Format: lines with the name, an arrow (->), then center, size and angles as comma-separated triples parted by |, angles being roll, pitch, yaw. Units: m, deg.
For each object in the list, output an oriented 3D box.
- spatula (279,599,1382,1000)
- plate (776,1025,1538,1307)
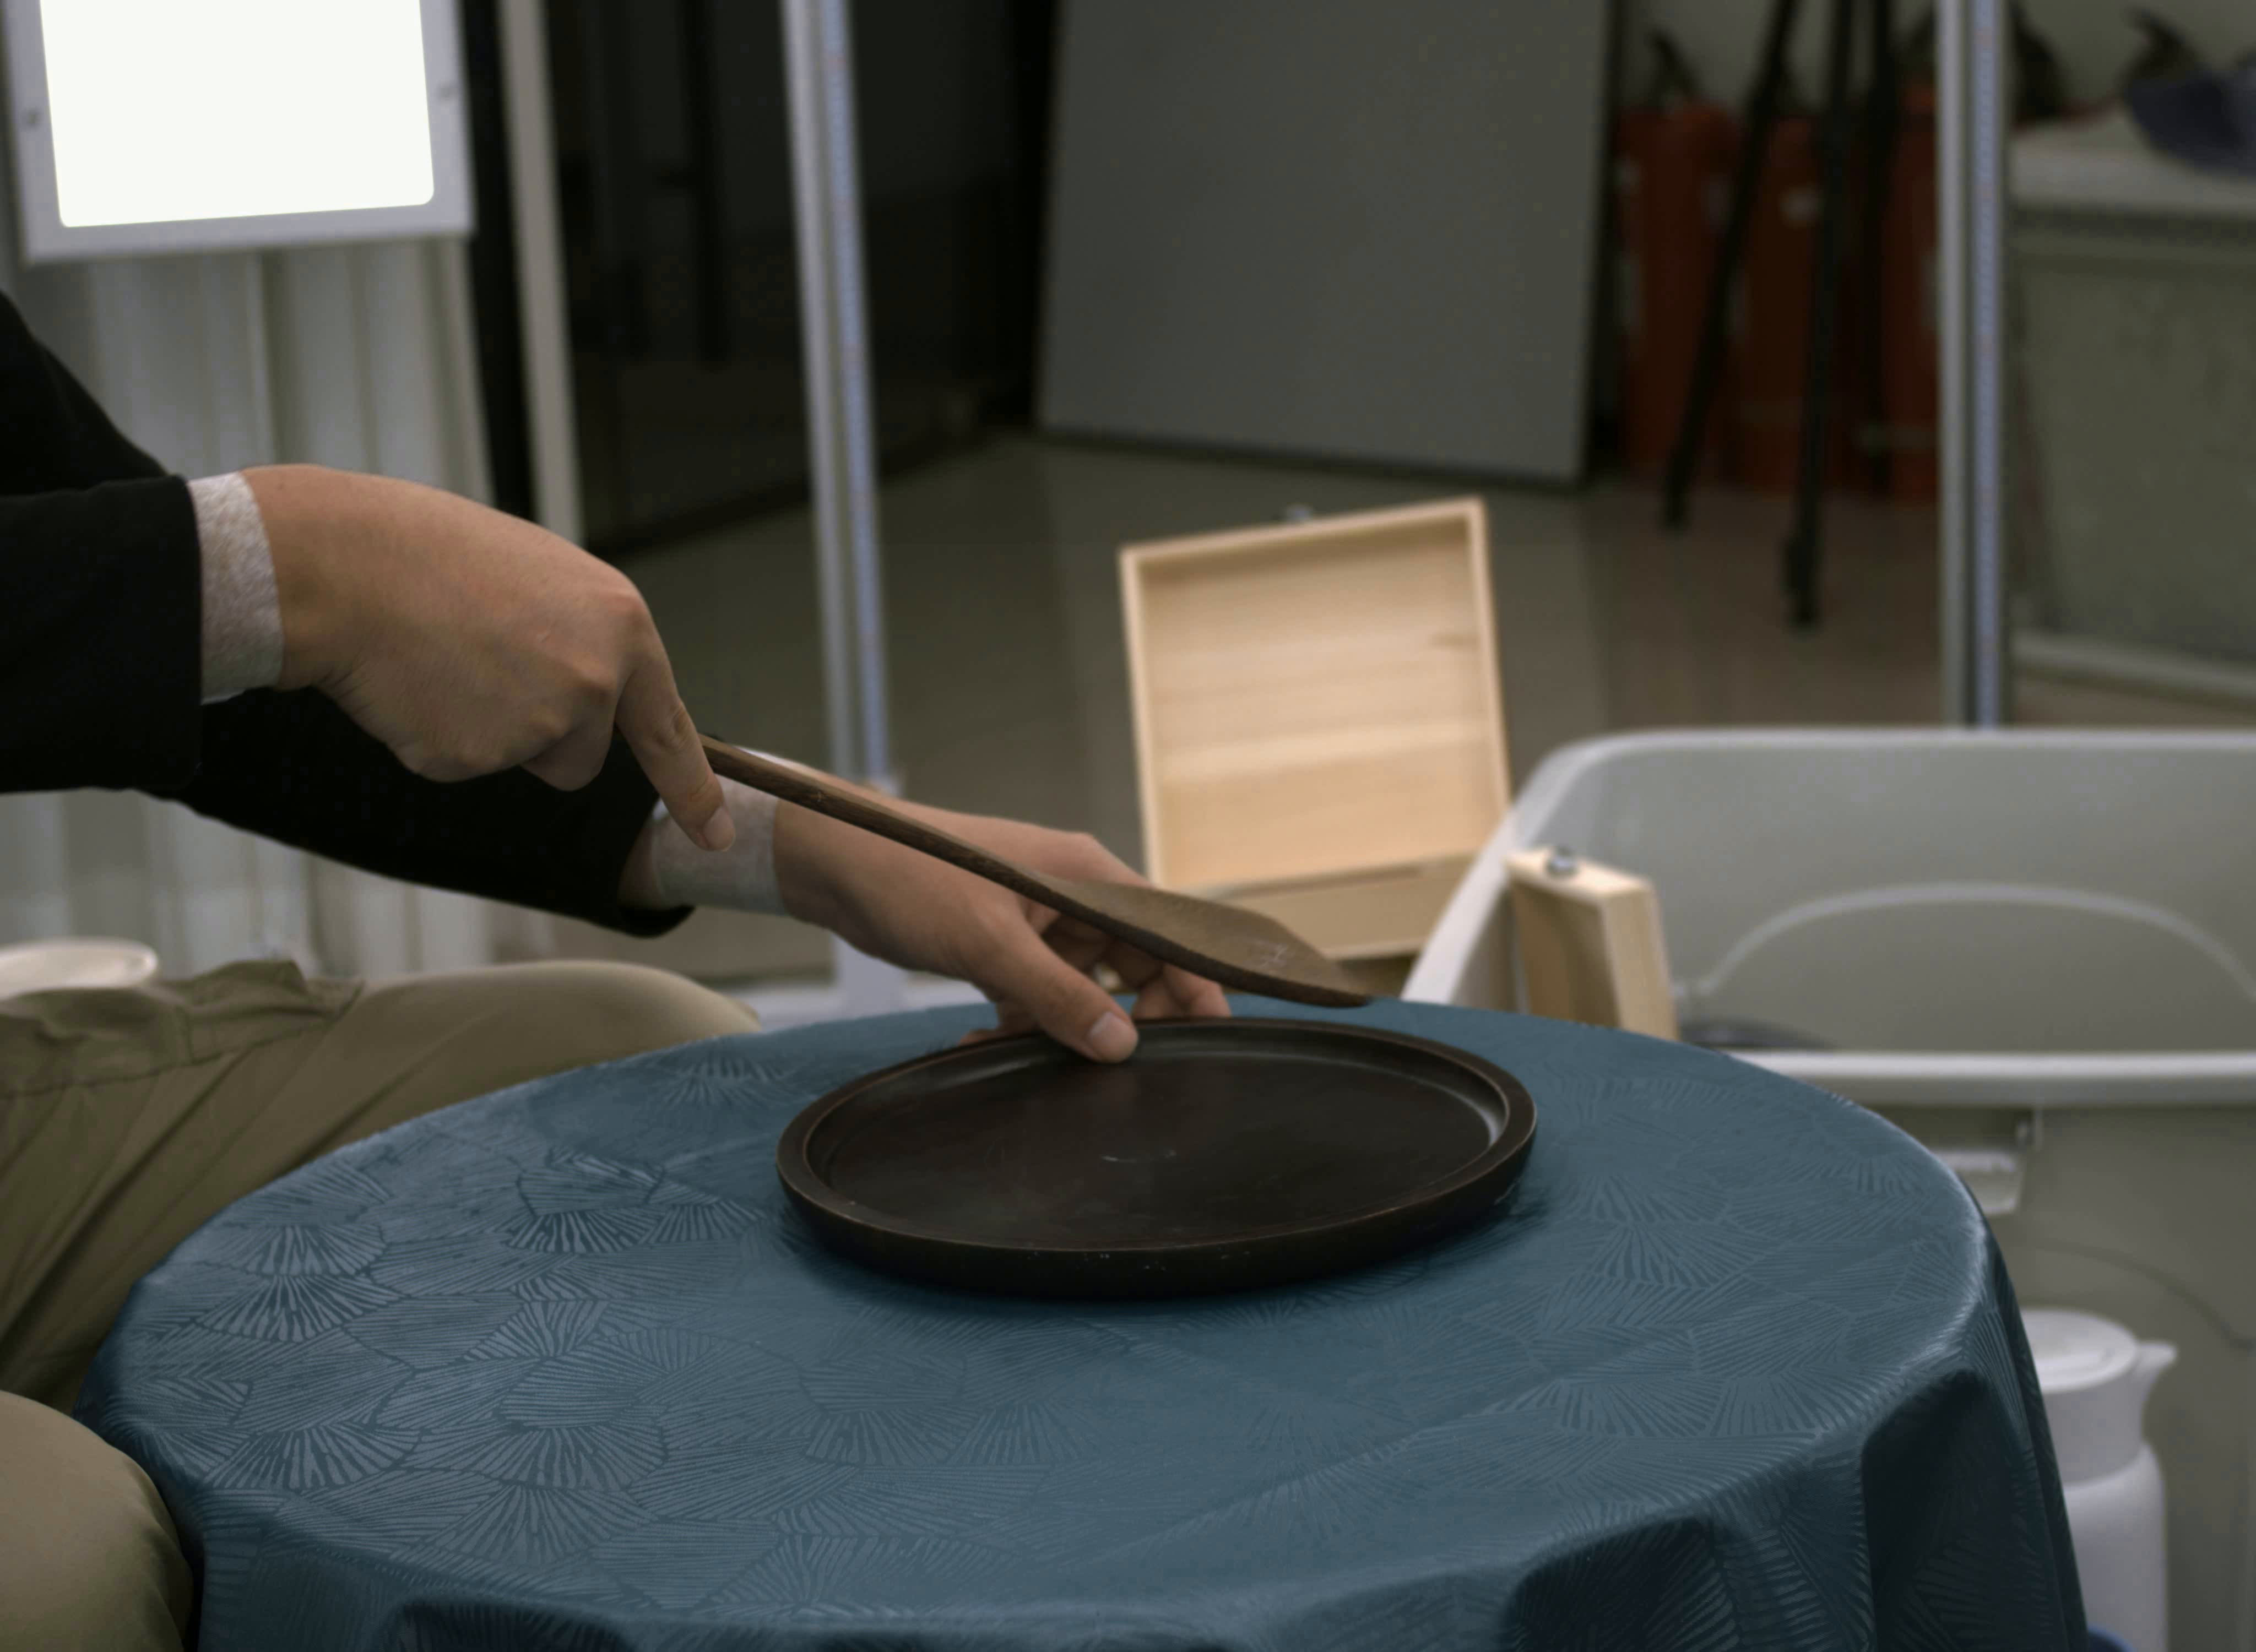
spatula -> -0.088, -0.008, 1.683 | 0.378, 0.016, 0.097 | 20, 8, -26
plate -> 0.010, 0.108, 1.768 | 0.251, 0.029, 0.255 | -5, 15, 0
